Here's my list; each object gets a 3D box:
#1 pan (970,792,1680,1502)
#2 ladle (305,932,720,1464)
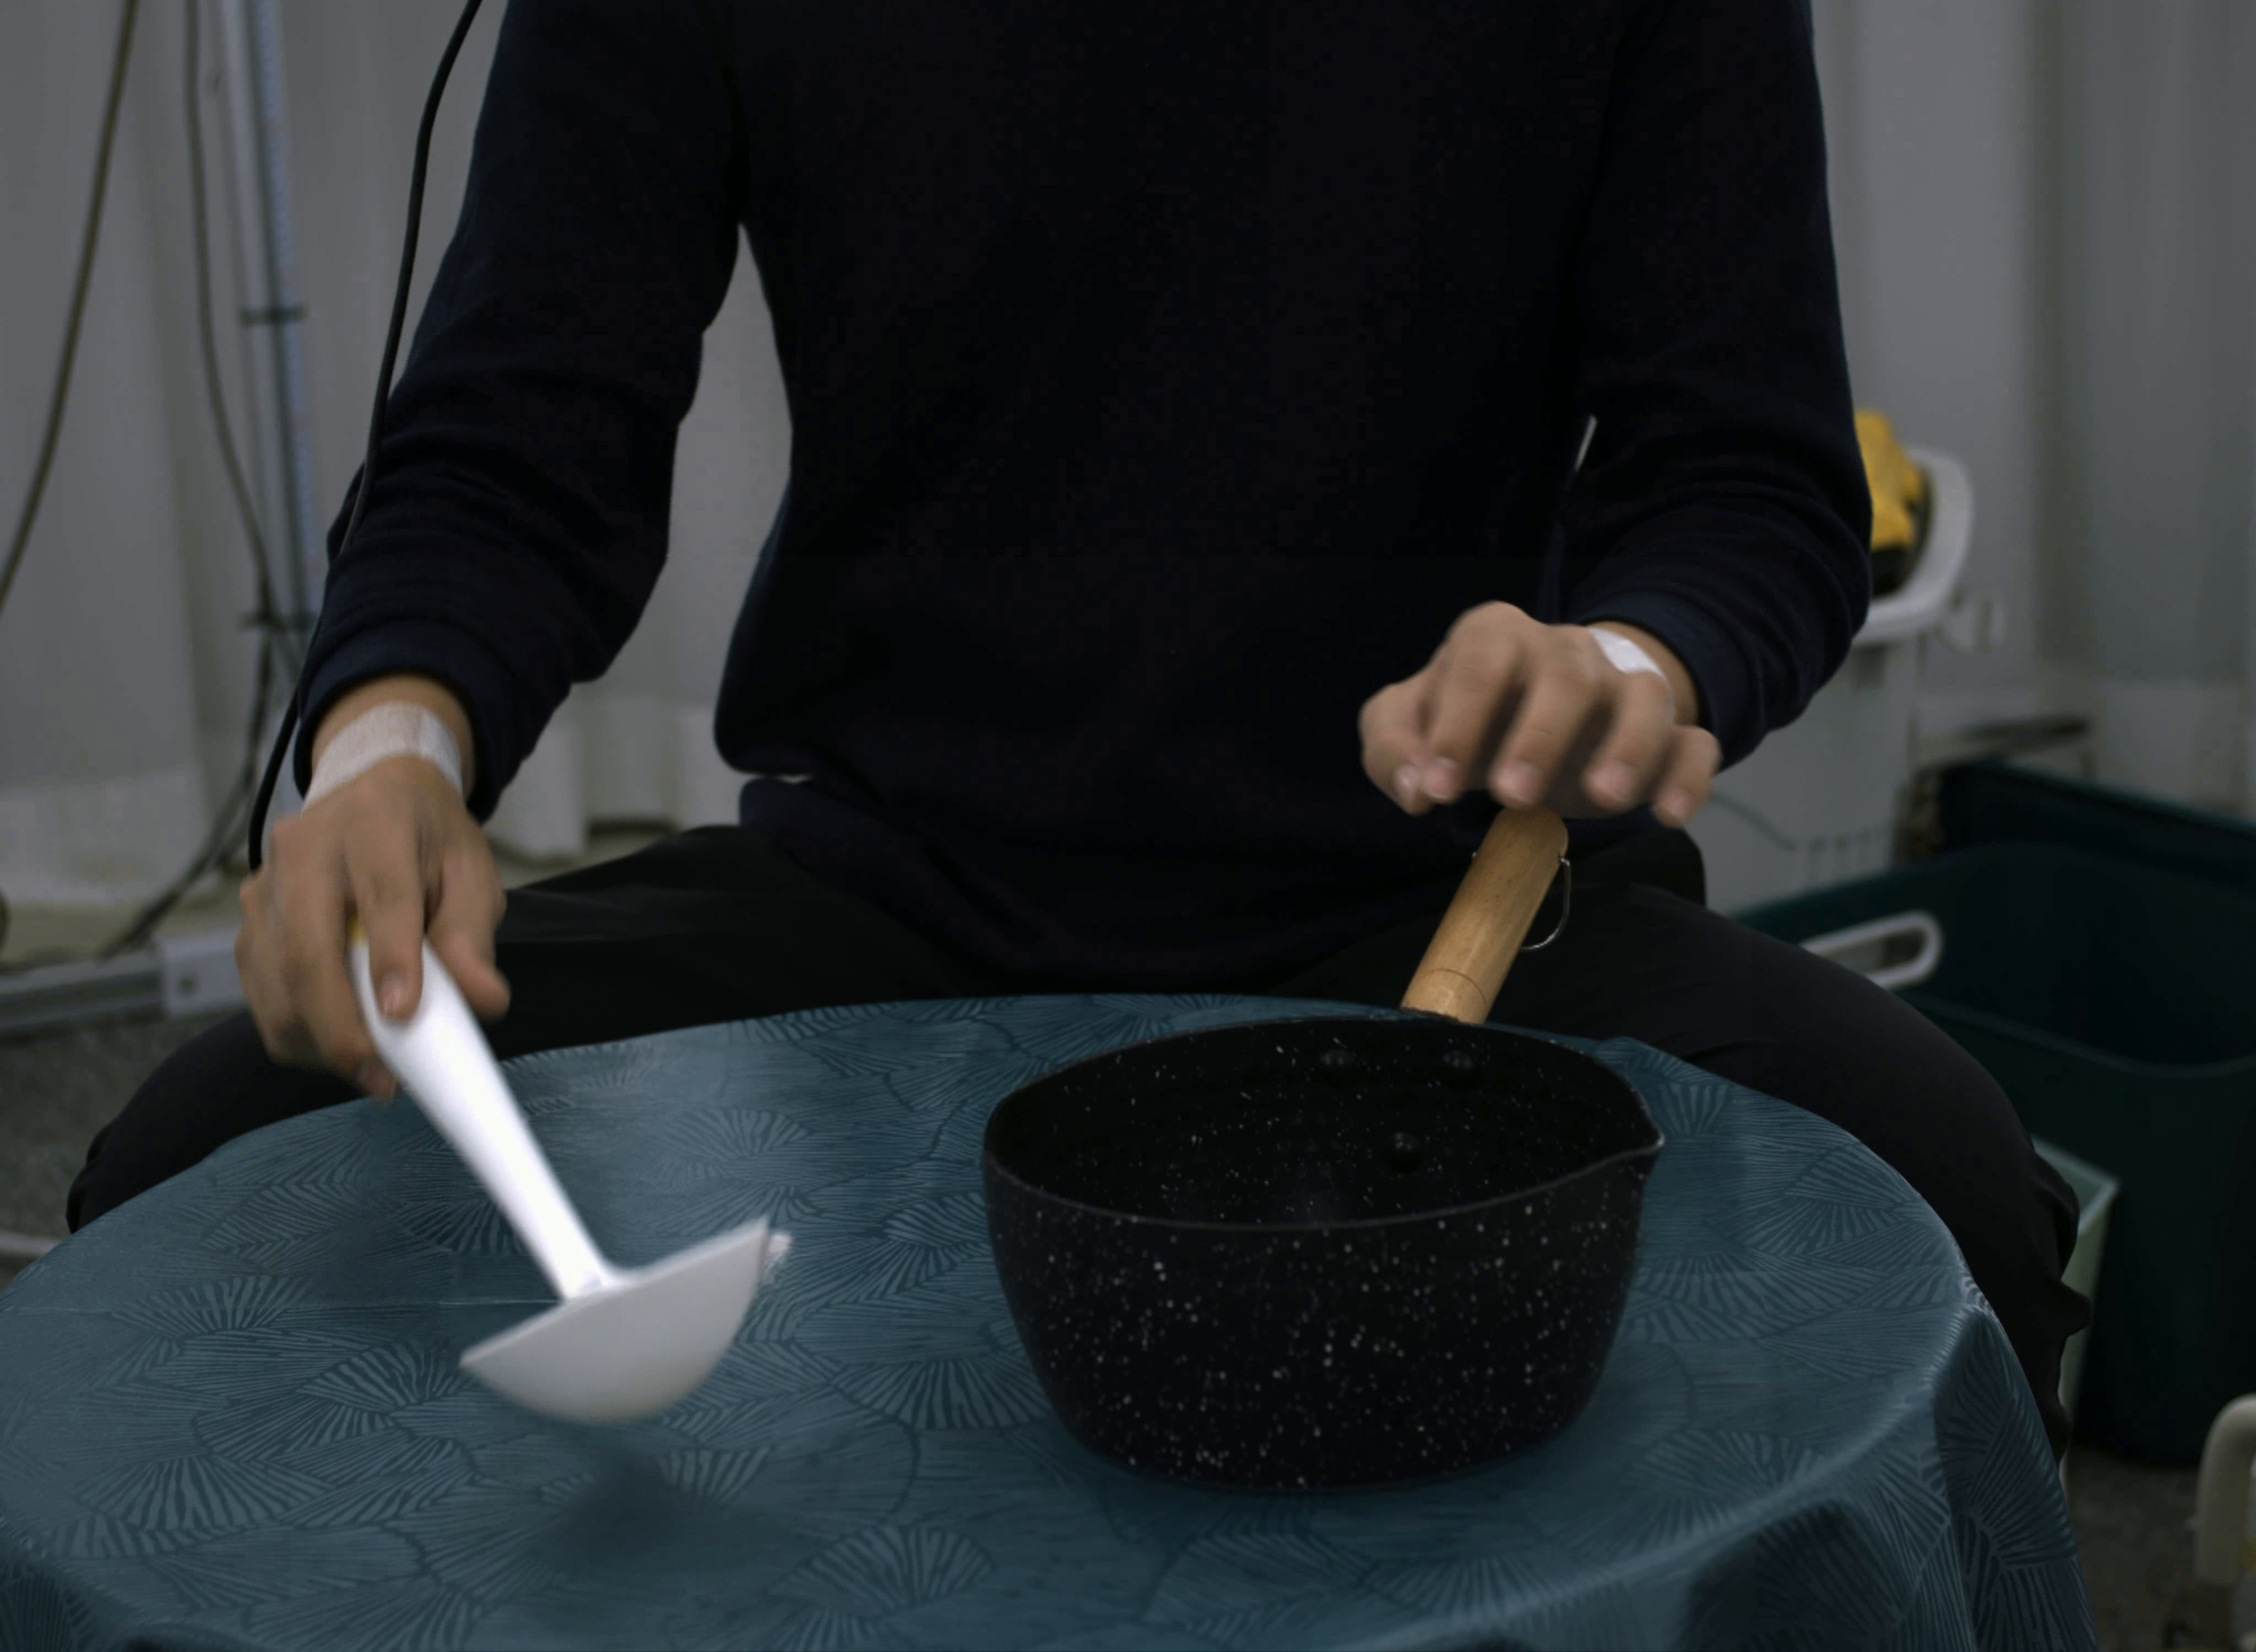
[{"bbox_3d":[0.076,0.088,1.593,0.207,0.108,0.344,1,17,18],"label":"pan"},{"bbox_3d":[-0.189,0.093,1.556,0.090,0.069,0.296,-28,33,-9],"label":"ladle"}]
